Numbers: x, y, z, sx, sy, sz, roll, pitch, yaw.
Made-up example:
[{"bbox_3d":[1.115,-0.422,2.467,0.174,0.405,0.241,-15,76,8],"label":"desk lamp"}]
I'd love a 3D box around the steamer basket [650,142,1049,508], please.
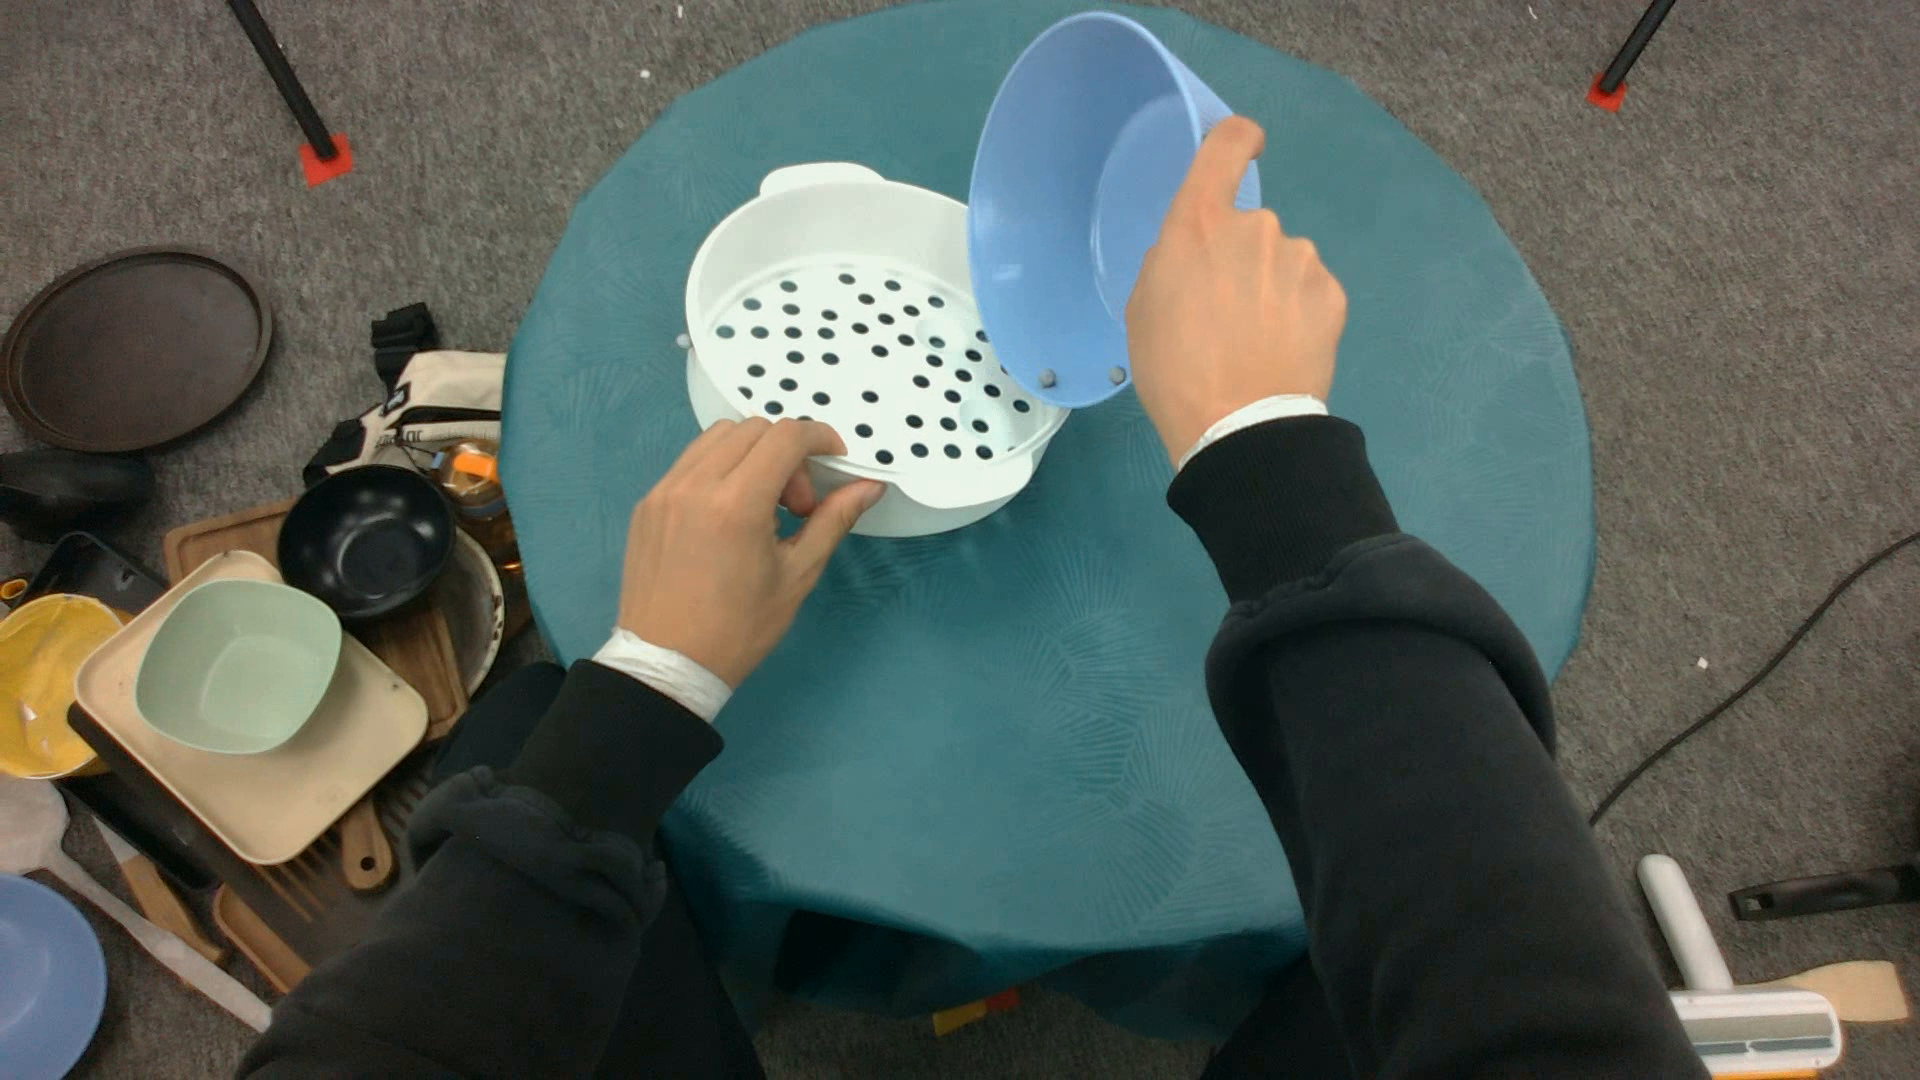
[{"bbox_3d":[-0.058,-0.107,0.708,0.202,0.069,0.231,-14,59,-26],"label":"steamer basket"}]

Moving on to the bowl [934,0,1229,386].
[{"bbox_3d":[0.064,-0.162,0.655,0.070,0.175,0.176,-6,63,-35],"label":"bowl"}]
